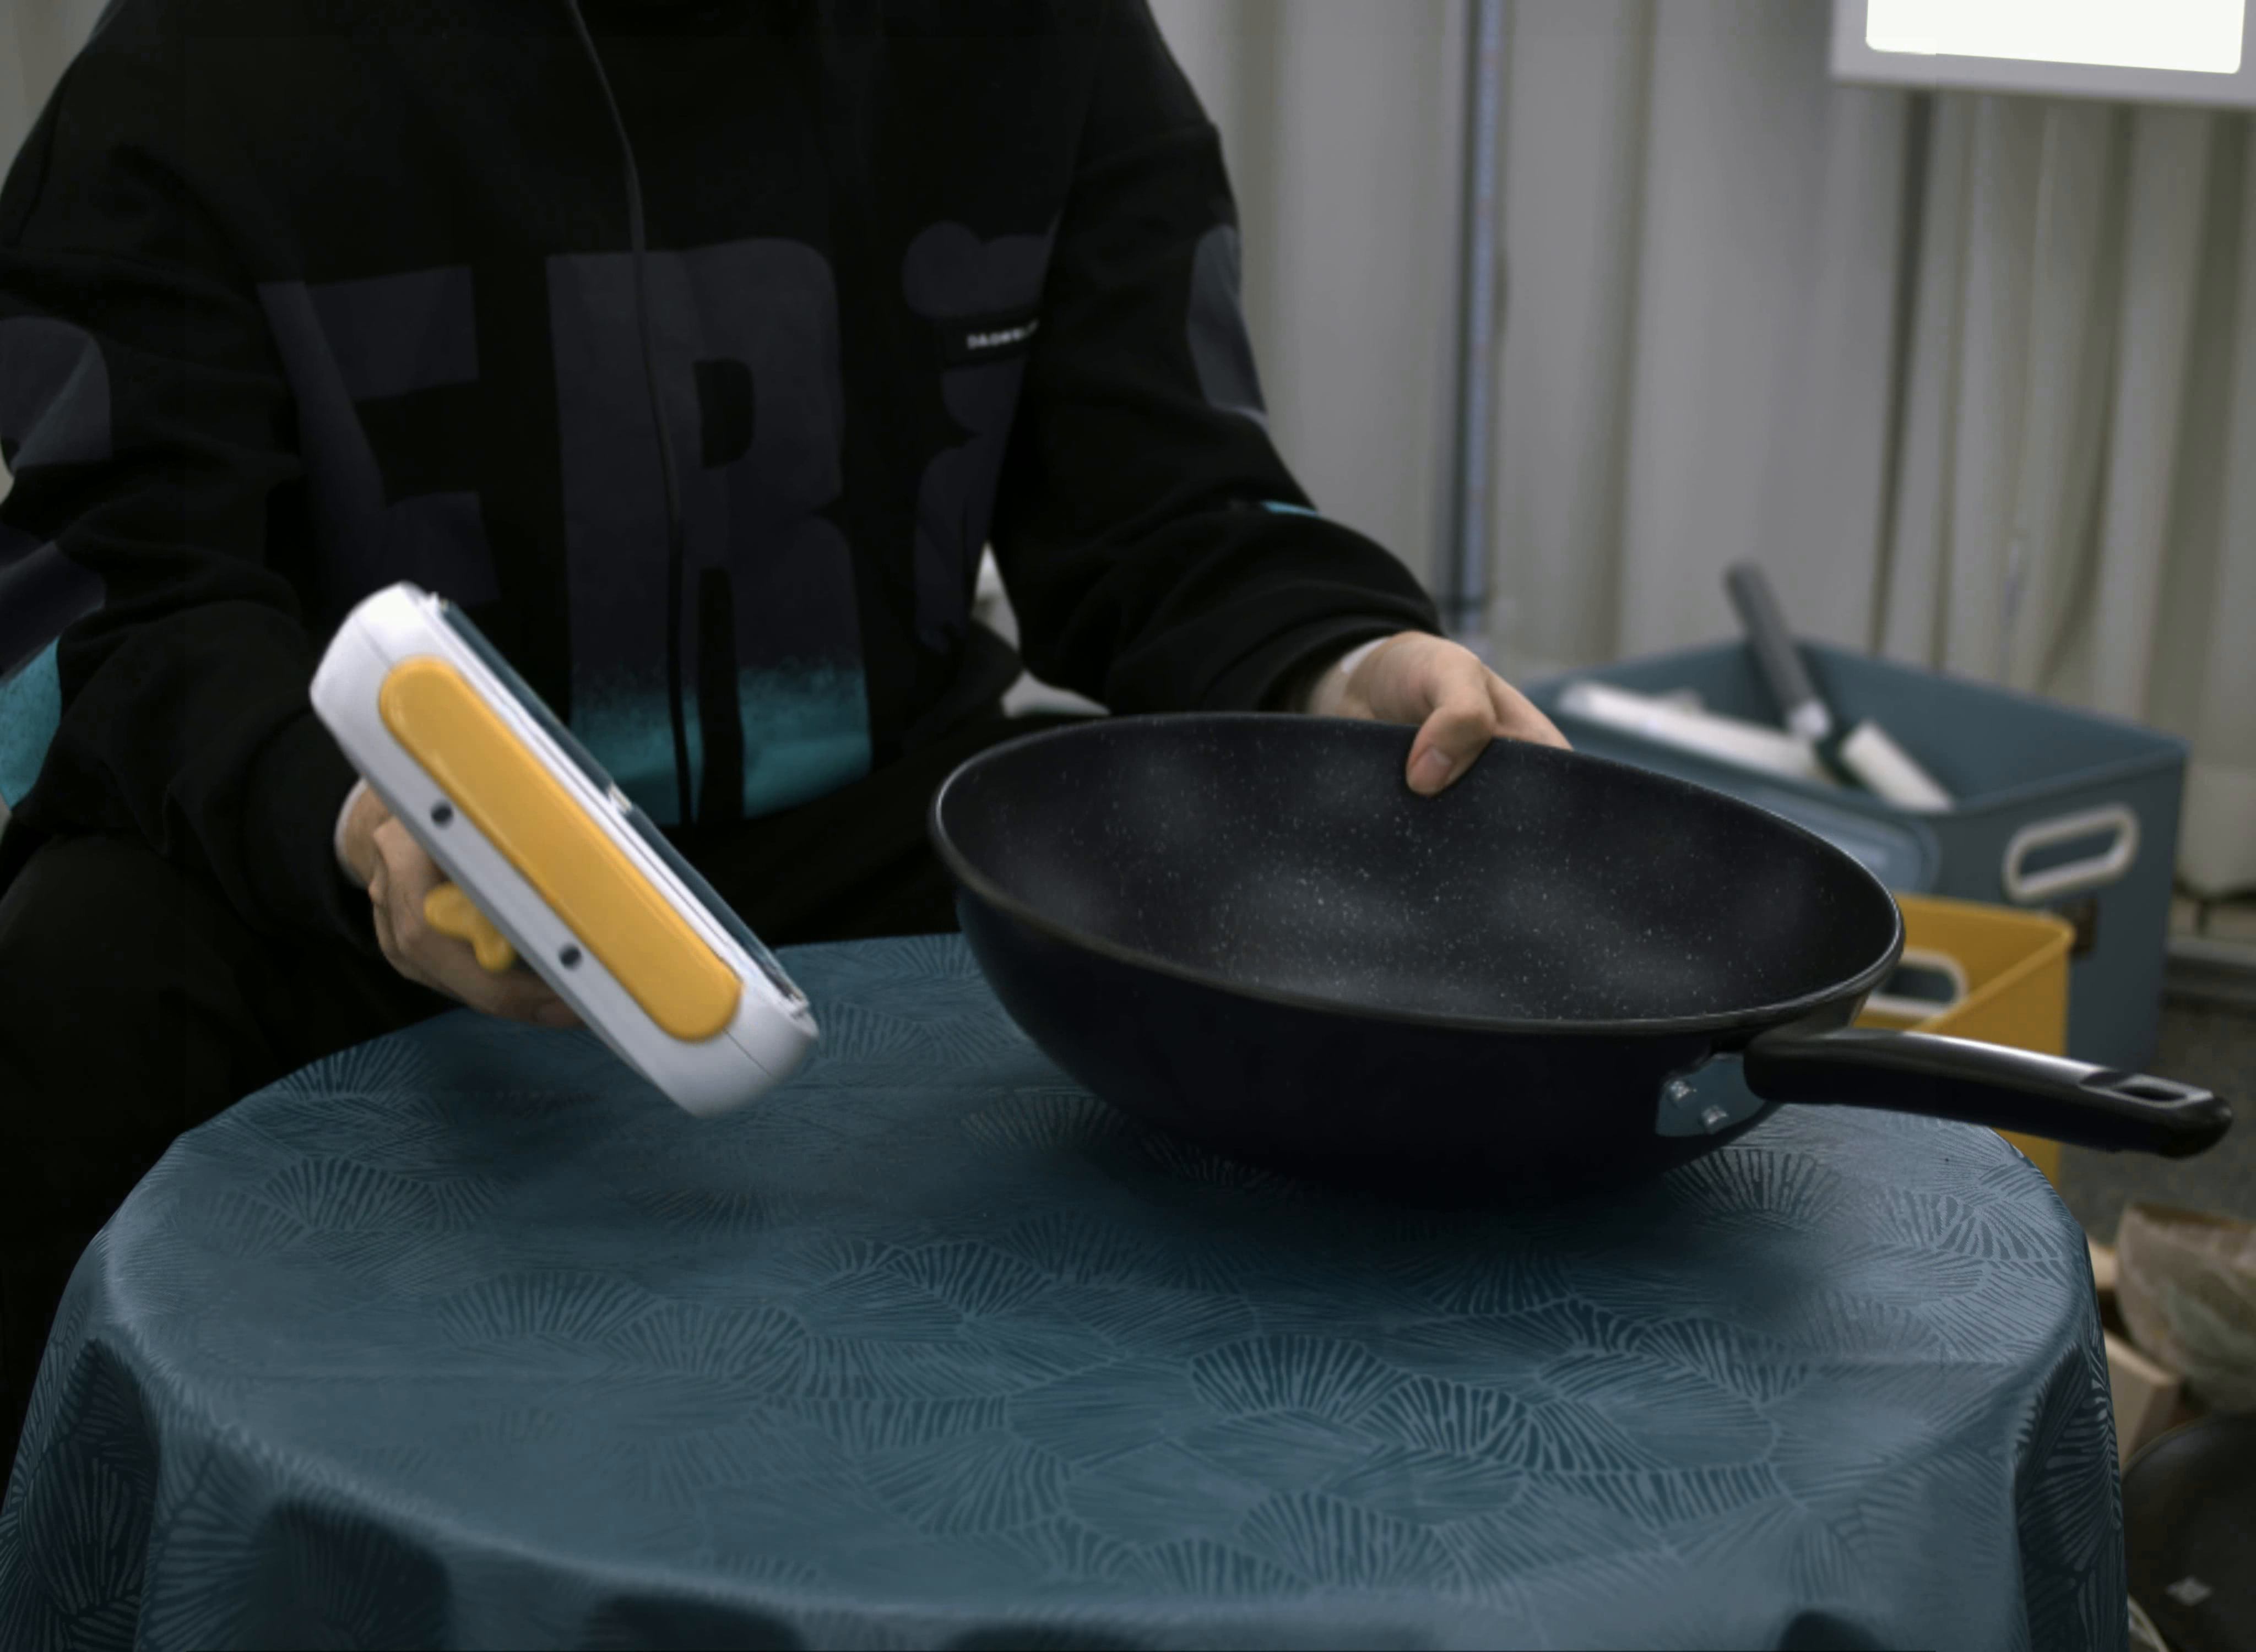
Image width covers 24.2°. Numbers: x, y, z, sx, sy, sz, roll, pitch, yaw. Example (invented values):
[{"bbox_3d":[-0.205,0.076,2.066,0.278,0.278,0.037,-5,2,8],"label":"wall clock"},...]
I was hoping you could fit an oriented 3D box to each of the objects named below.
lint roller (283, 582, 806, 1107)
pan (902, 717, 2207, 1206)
[{"bbox_3d":[-0.182,0.016,1.644,0.193,0.074,0.192,42,-5,1],"label":"lint roller"},{"bbox_3d":[0.134,0.062,1.603,0.312,0.112,0.470,-10,23,-39],"label":"pan"}]
